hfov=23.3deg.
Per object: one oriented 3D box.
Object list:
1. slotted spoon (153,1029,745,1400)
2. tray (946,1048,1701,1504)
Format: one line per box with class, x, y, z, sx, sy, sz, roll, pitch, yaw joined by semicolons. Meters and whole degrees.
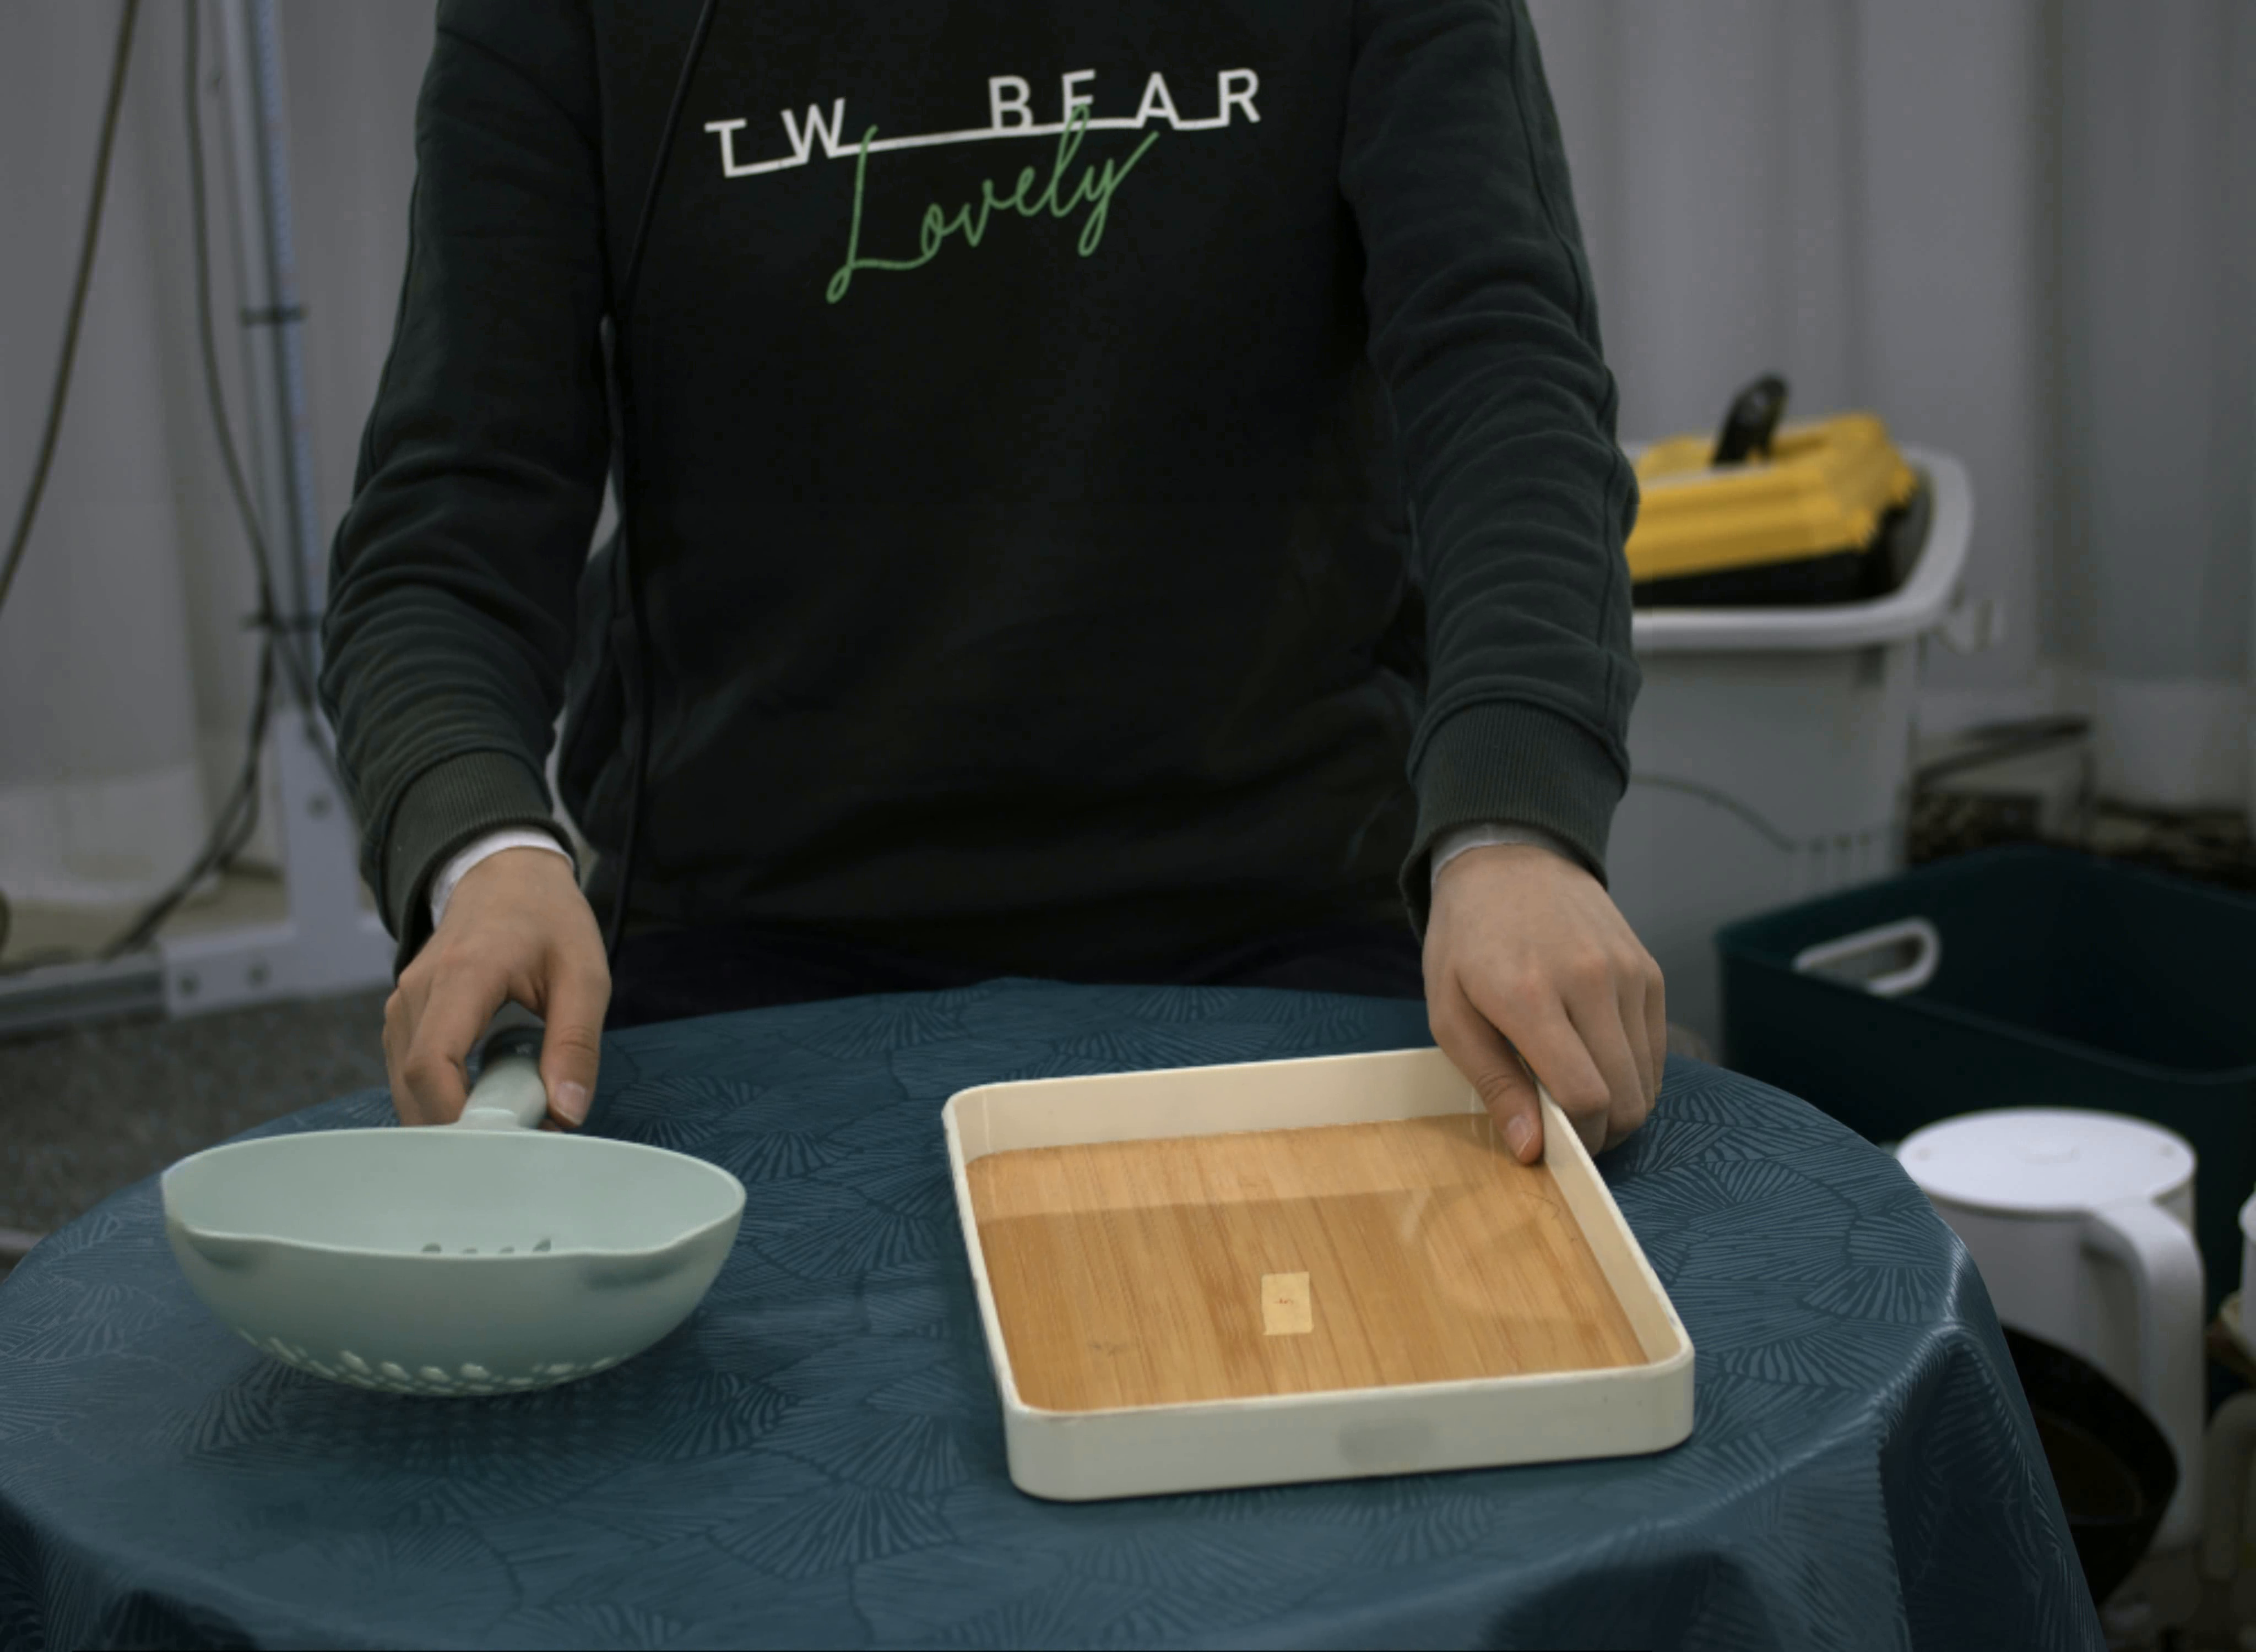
slotted spoon;-0.194;0.102;1.667;0.169;0.075;0.361;3;16;0
tray;0.050;0.127;1.608;0.191;0.027;0.302;-4;15;-4
